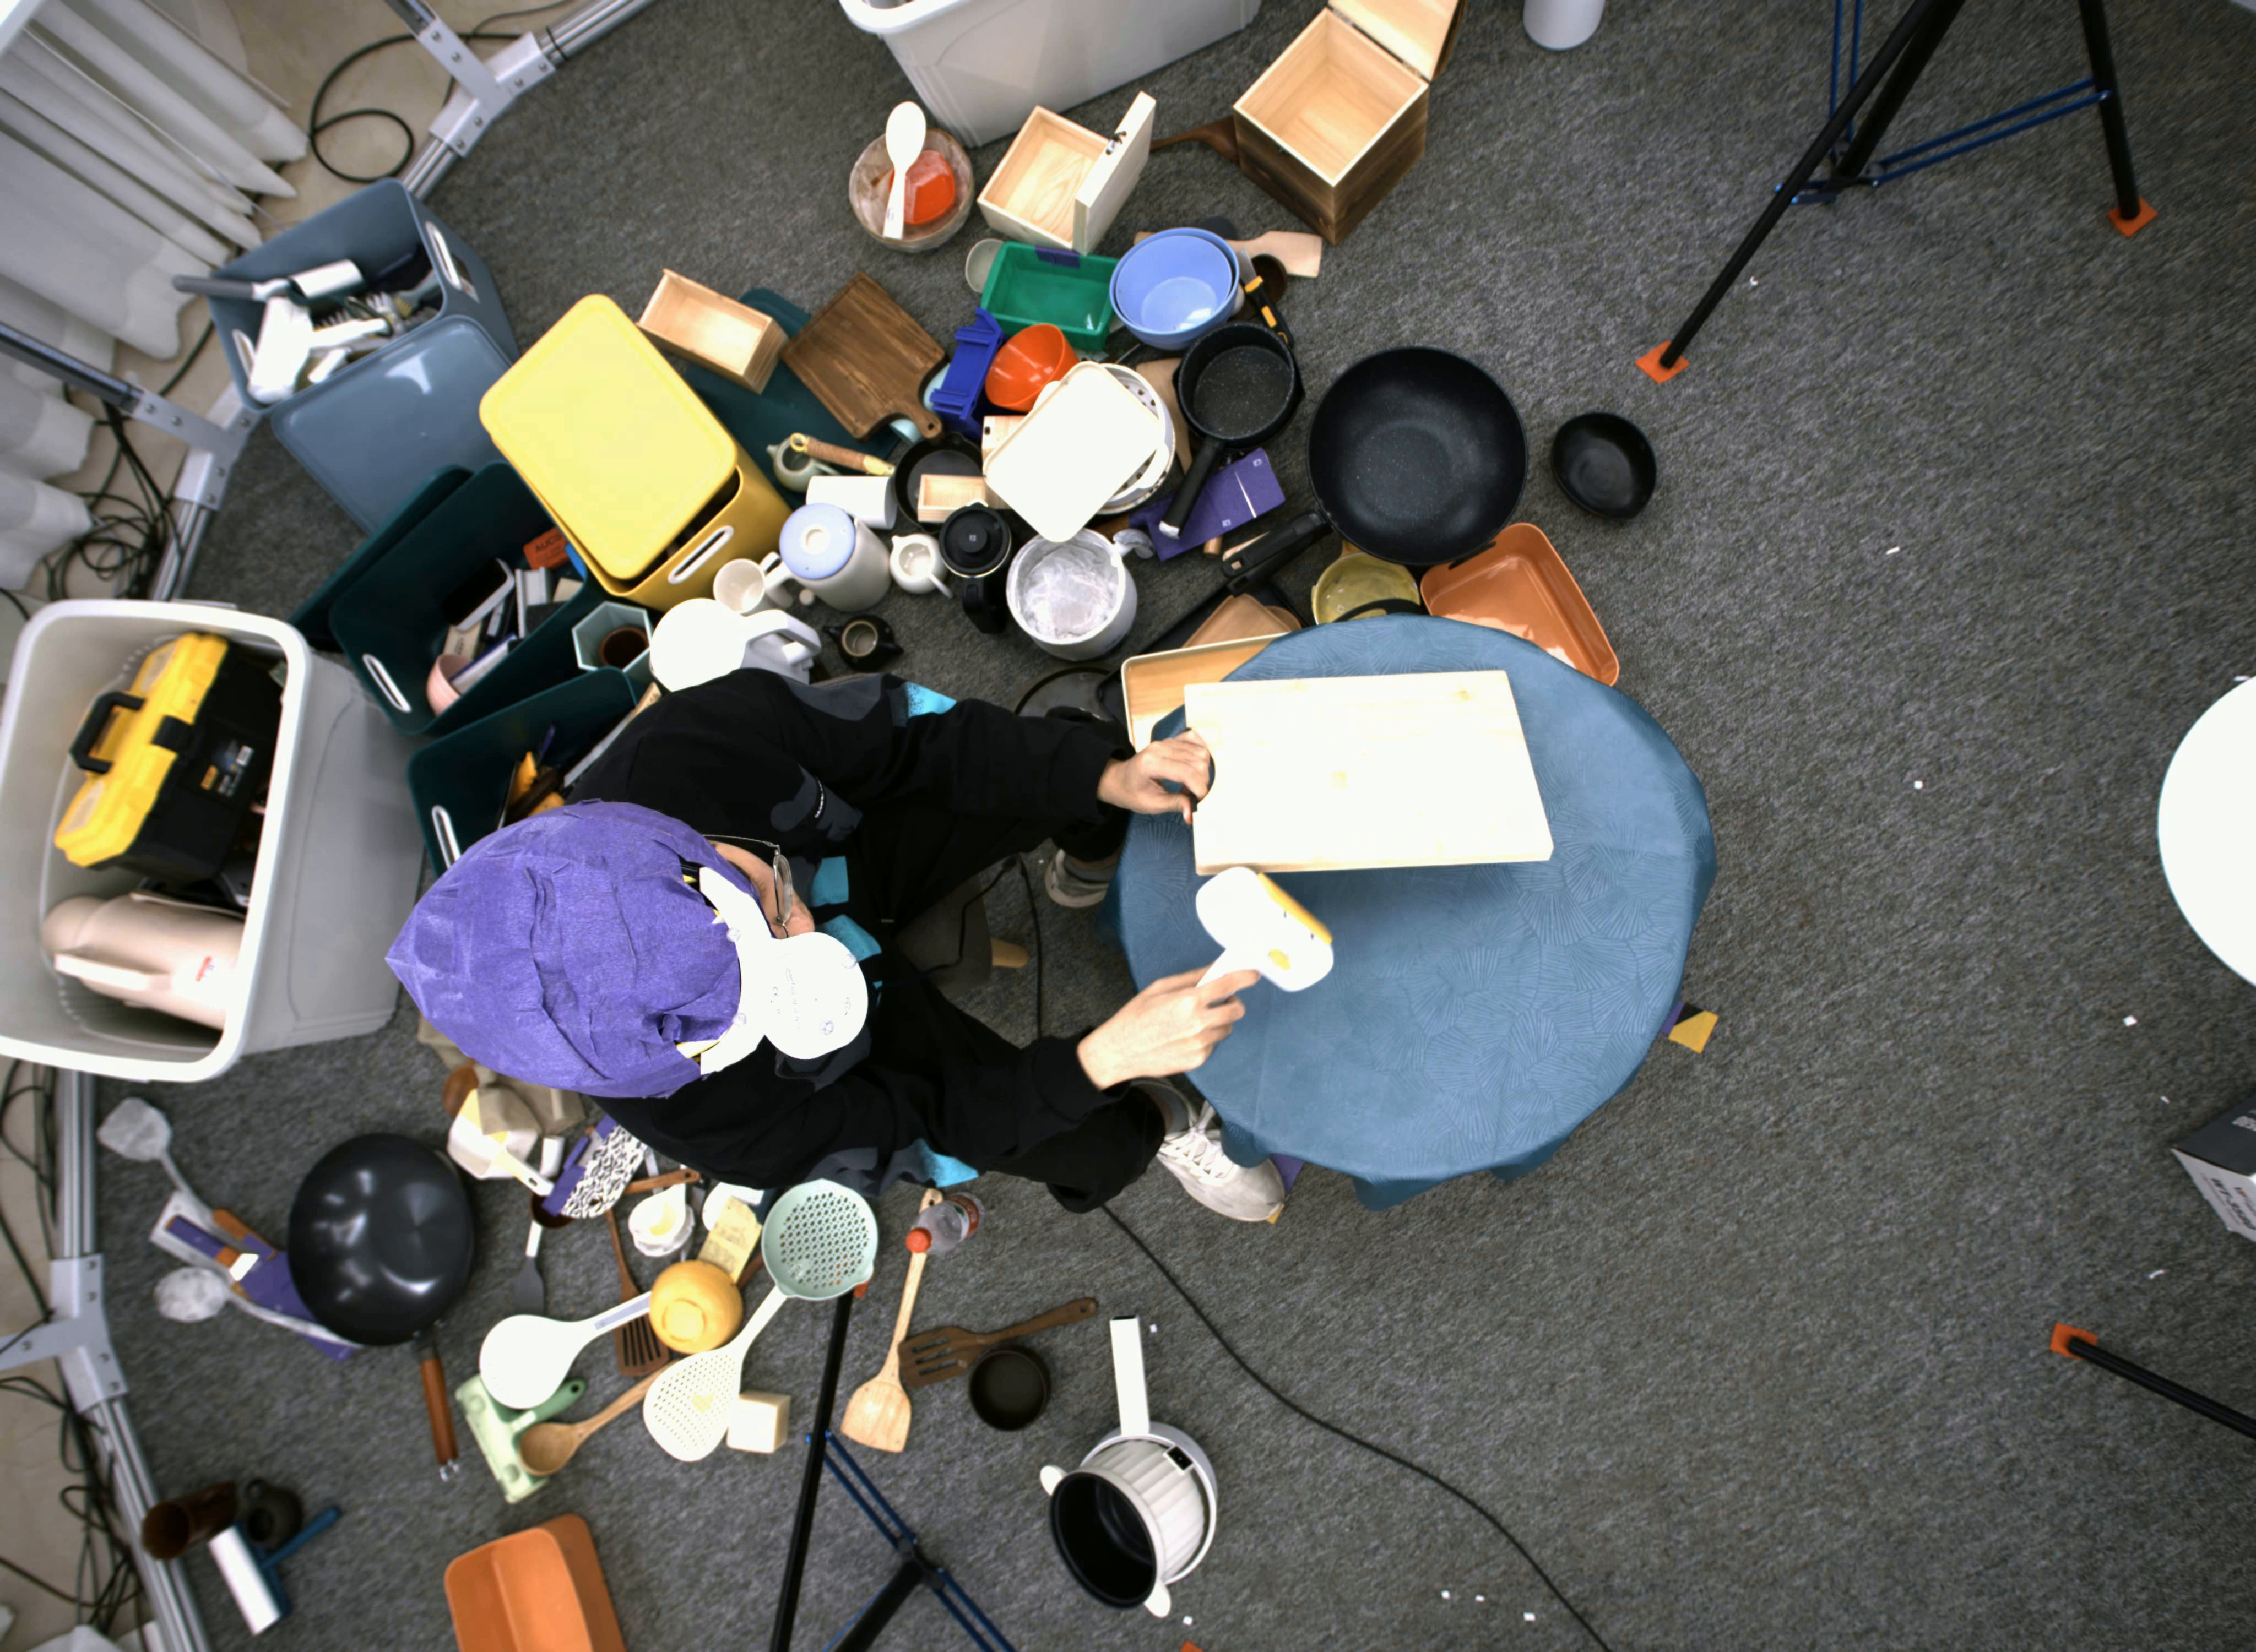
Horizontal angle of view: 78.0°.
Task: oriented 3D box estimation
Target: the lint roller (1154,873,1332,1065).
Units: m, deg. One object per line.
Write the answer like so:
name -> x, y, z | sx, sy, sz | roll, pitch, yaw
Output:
lint roller -> 0.089, 0.145, 1.319 | 0.195, 0.194, 0.073 | -43, 53, 14

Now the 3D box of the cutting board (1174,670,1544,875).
cutting board -> 0.224, -0.059, 1.375 | 0.349, 0.024, 0.244 | -3, 53, 1
